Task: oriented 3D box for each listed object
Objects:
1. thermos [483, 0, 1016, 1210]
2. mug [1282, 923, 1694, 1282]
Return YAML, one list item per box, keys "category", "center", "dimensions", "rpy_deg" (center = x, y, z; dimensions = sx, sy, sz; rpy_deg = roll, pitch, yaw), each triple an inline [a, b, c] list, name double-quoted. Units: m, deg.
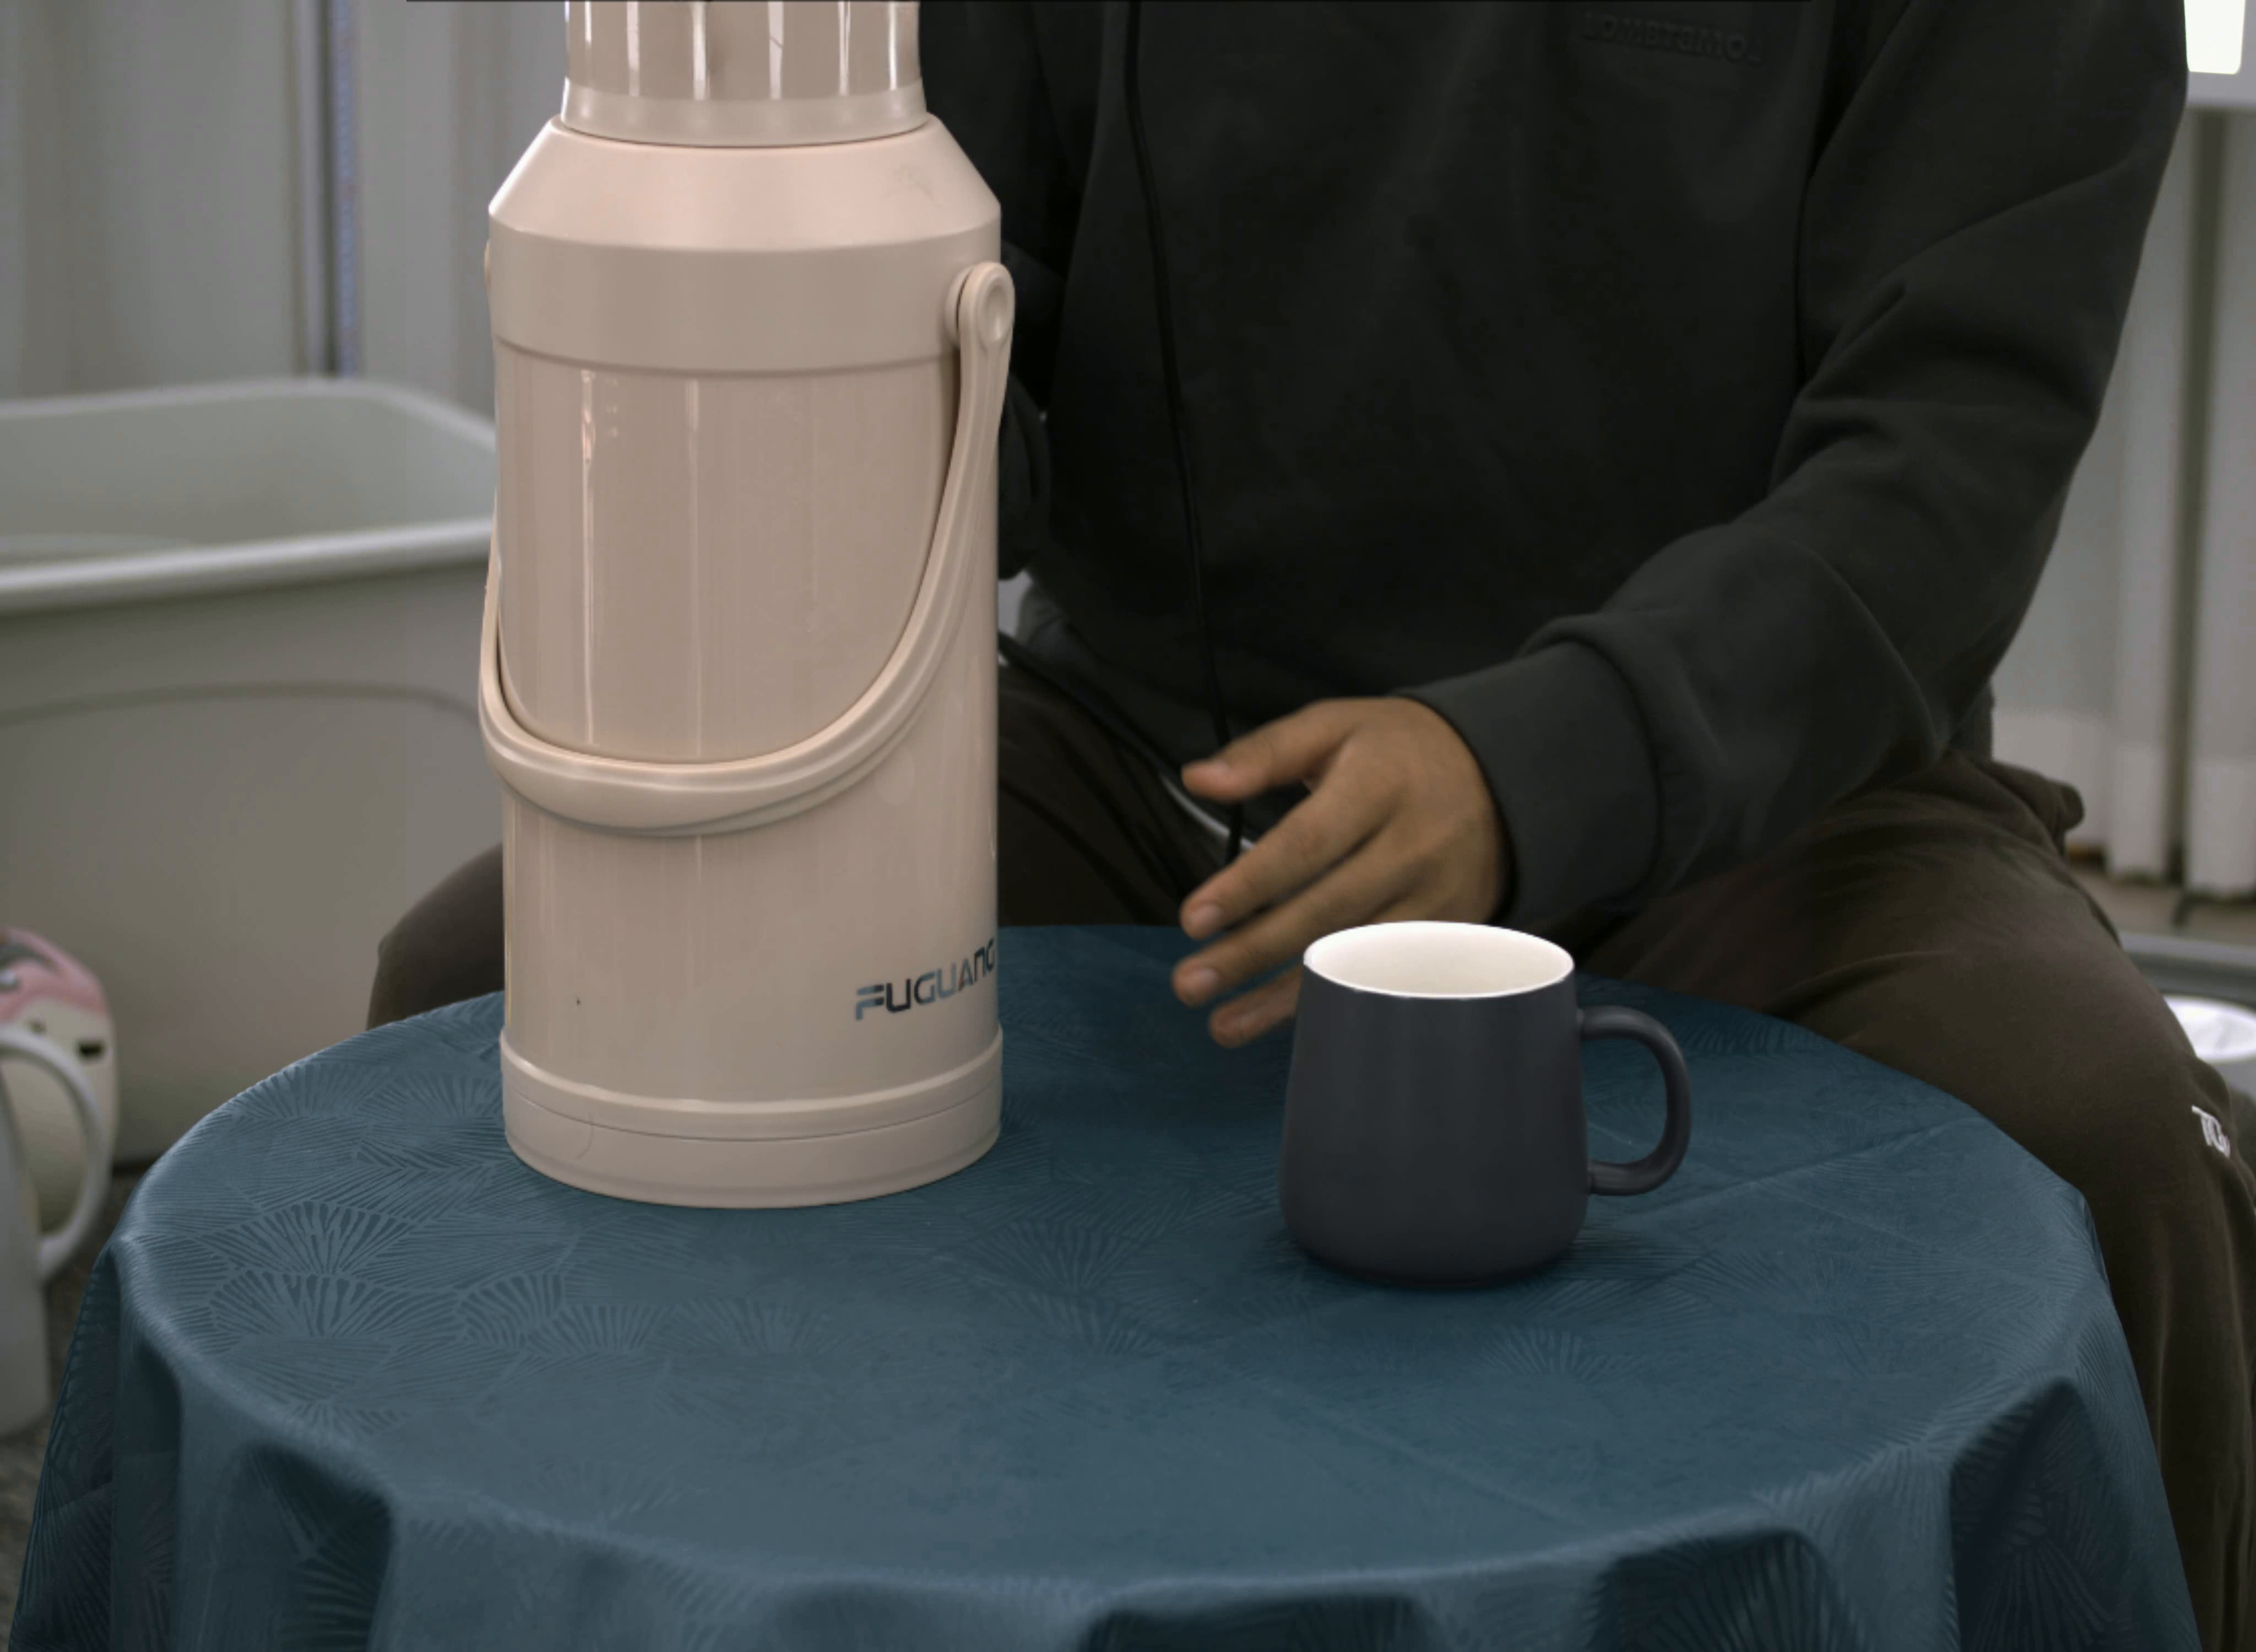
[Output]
- category: "thermos"
  center: [-0.108, -0.099, 1.635]
  dimensions: [0.173, 0.410, 0.207]
  rpy_deg: [8, 18, 26]
- category: "mug"
  center: [0.107, 0.082, 1.570]
  dimensions: [0.123, 0.090, 0.093]
  rpy_deg: [1, 16, 2]
